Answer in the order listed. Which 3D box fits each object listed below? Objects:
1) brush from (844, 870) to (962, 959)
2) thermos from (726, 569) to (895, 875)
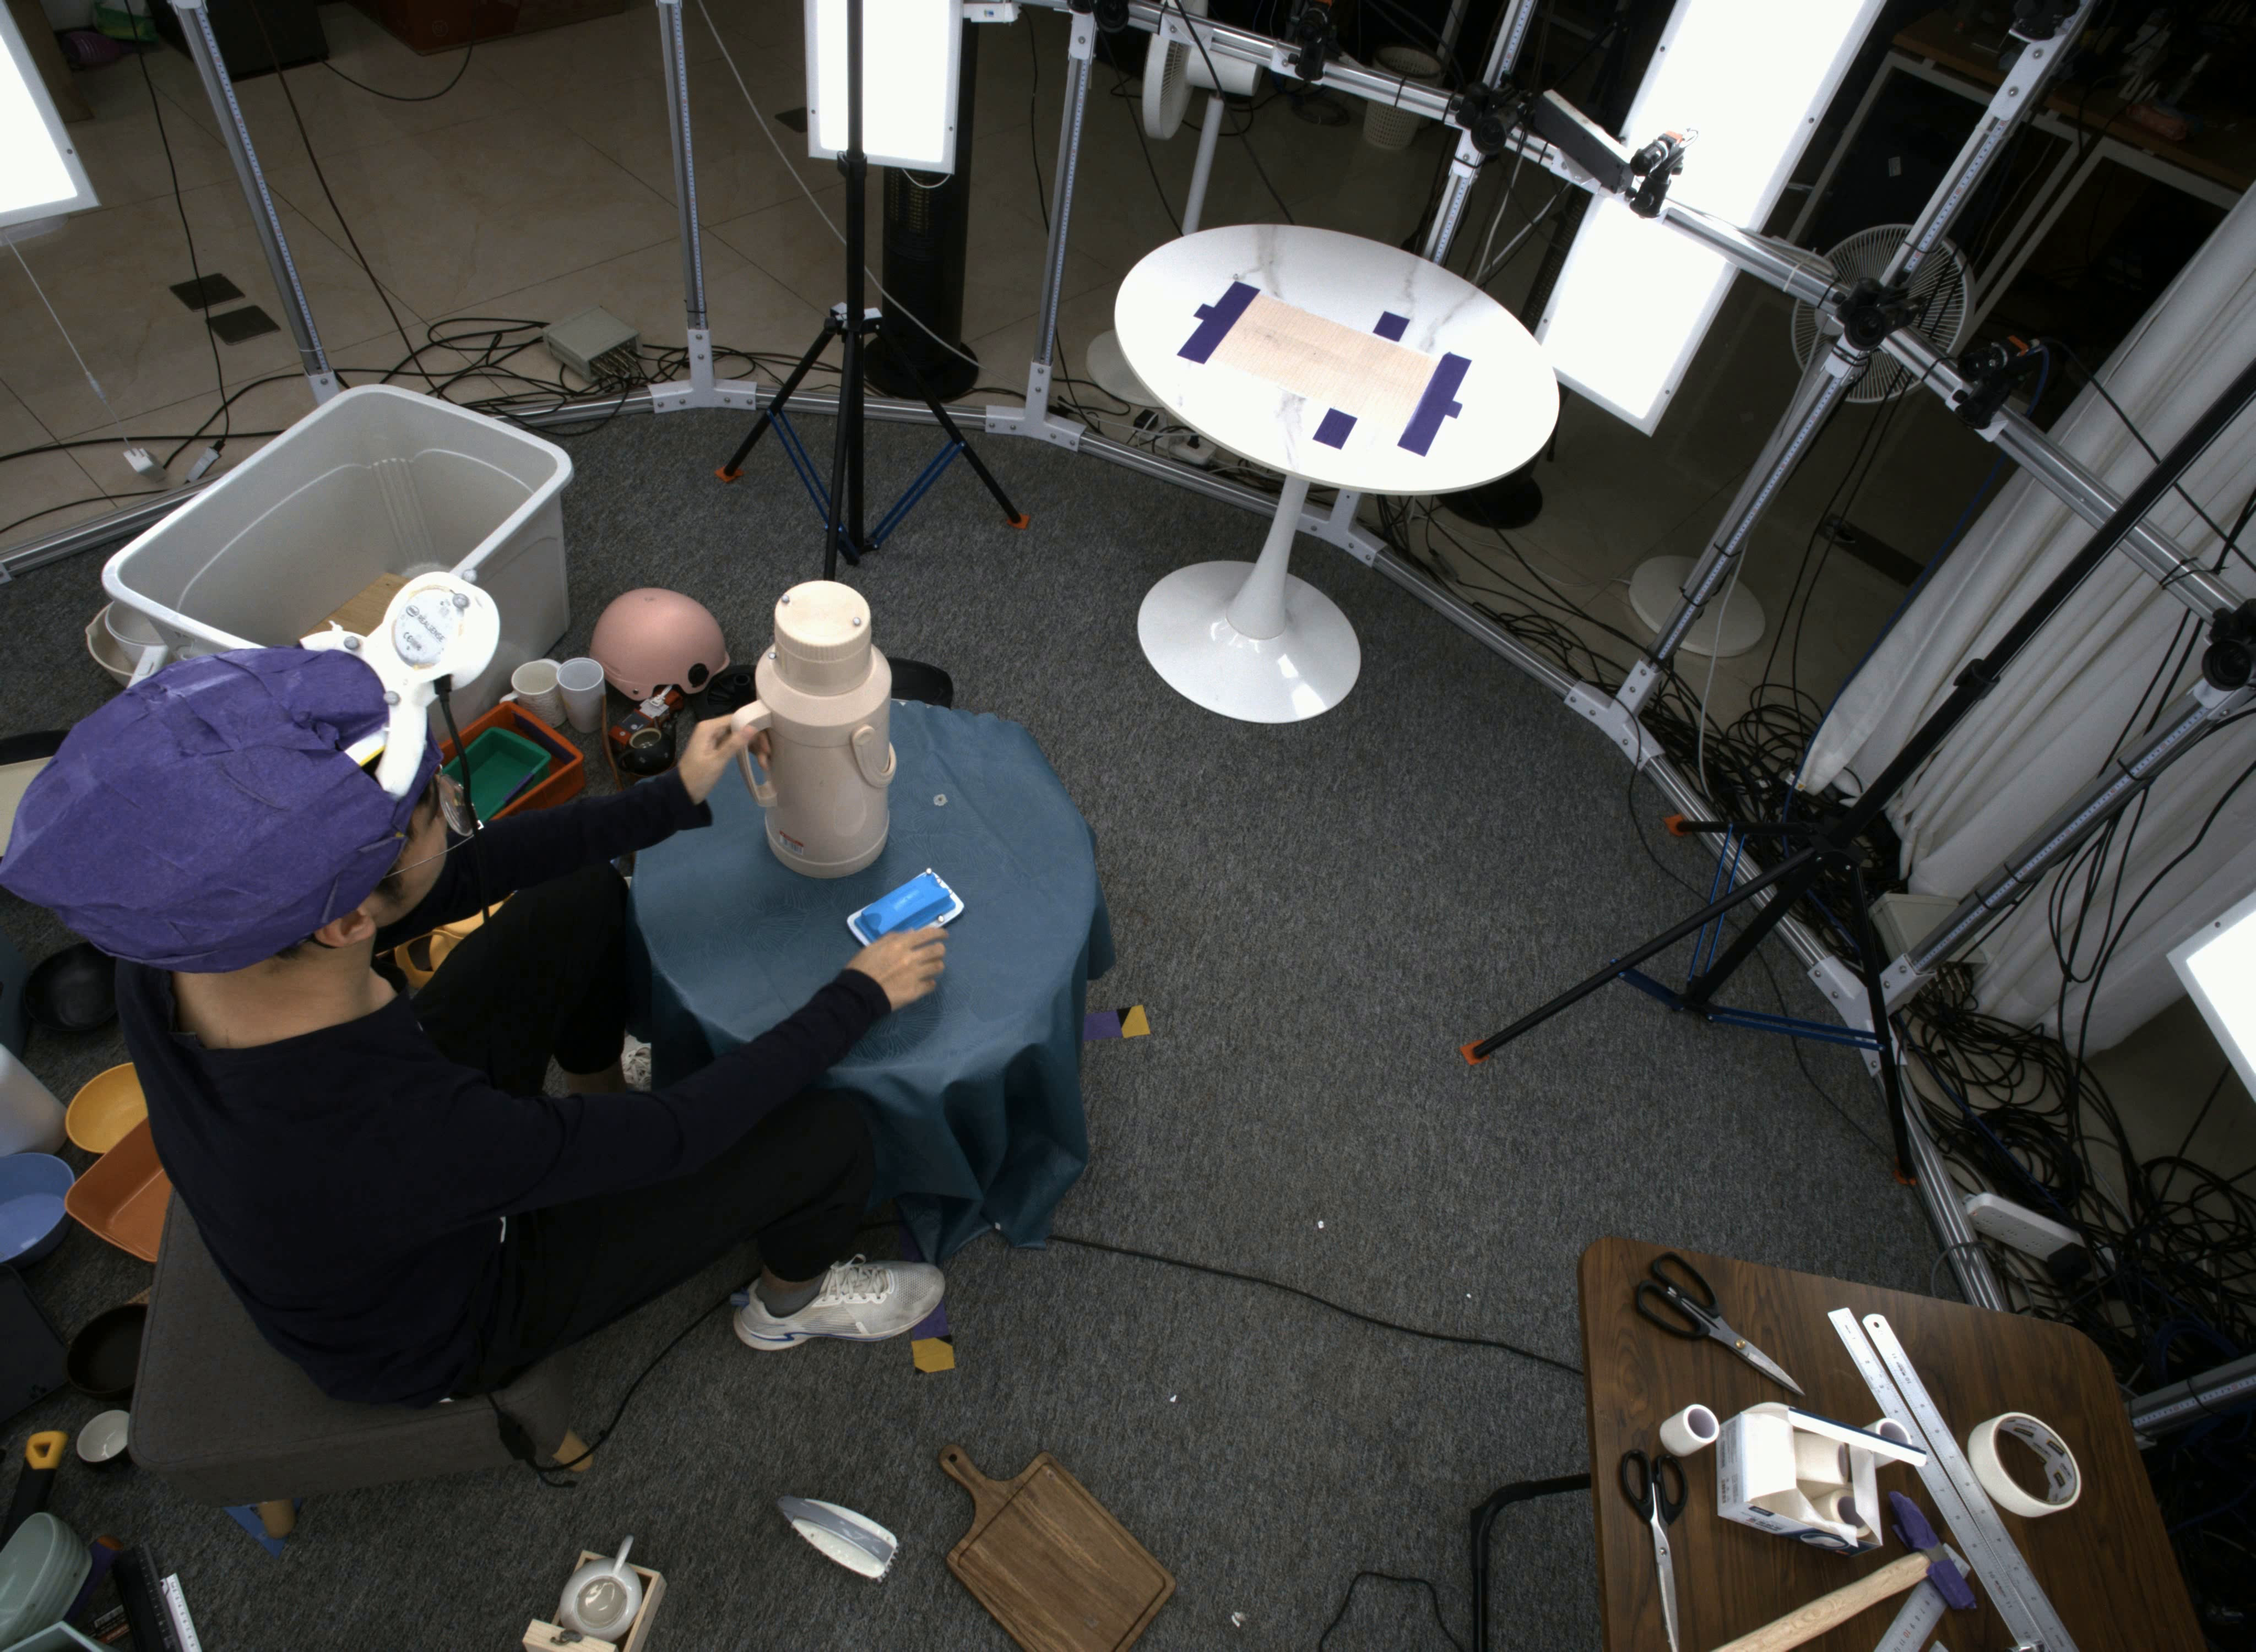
[{"bbox_3d":[-0.284,0.103,1.644,0.144,0.057,0.081,-29,62,-32],"label":"brush"},{"bbox_3d":[-0.382,-0.116,1.566,0.207,0.415,0.171,-32,66,-29],"label":"thermos"}]
